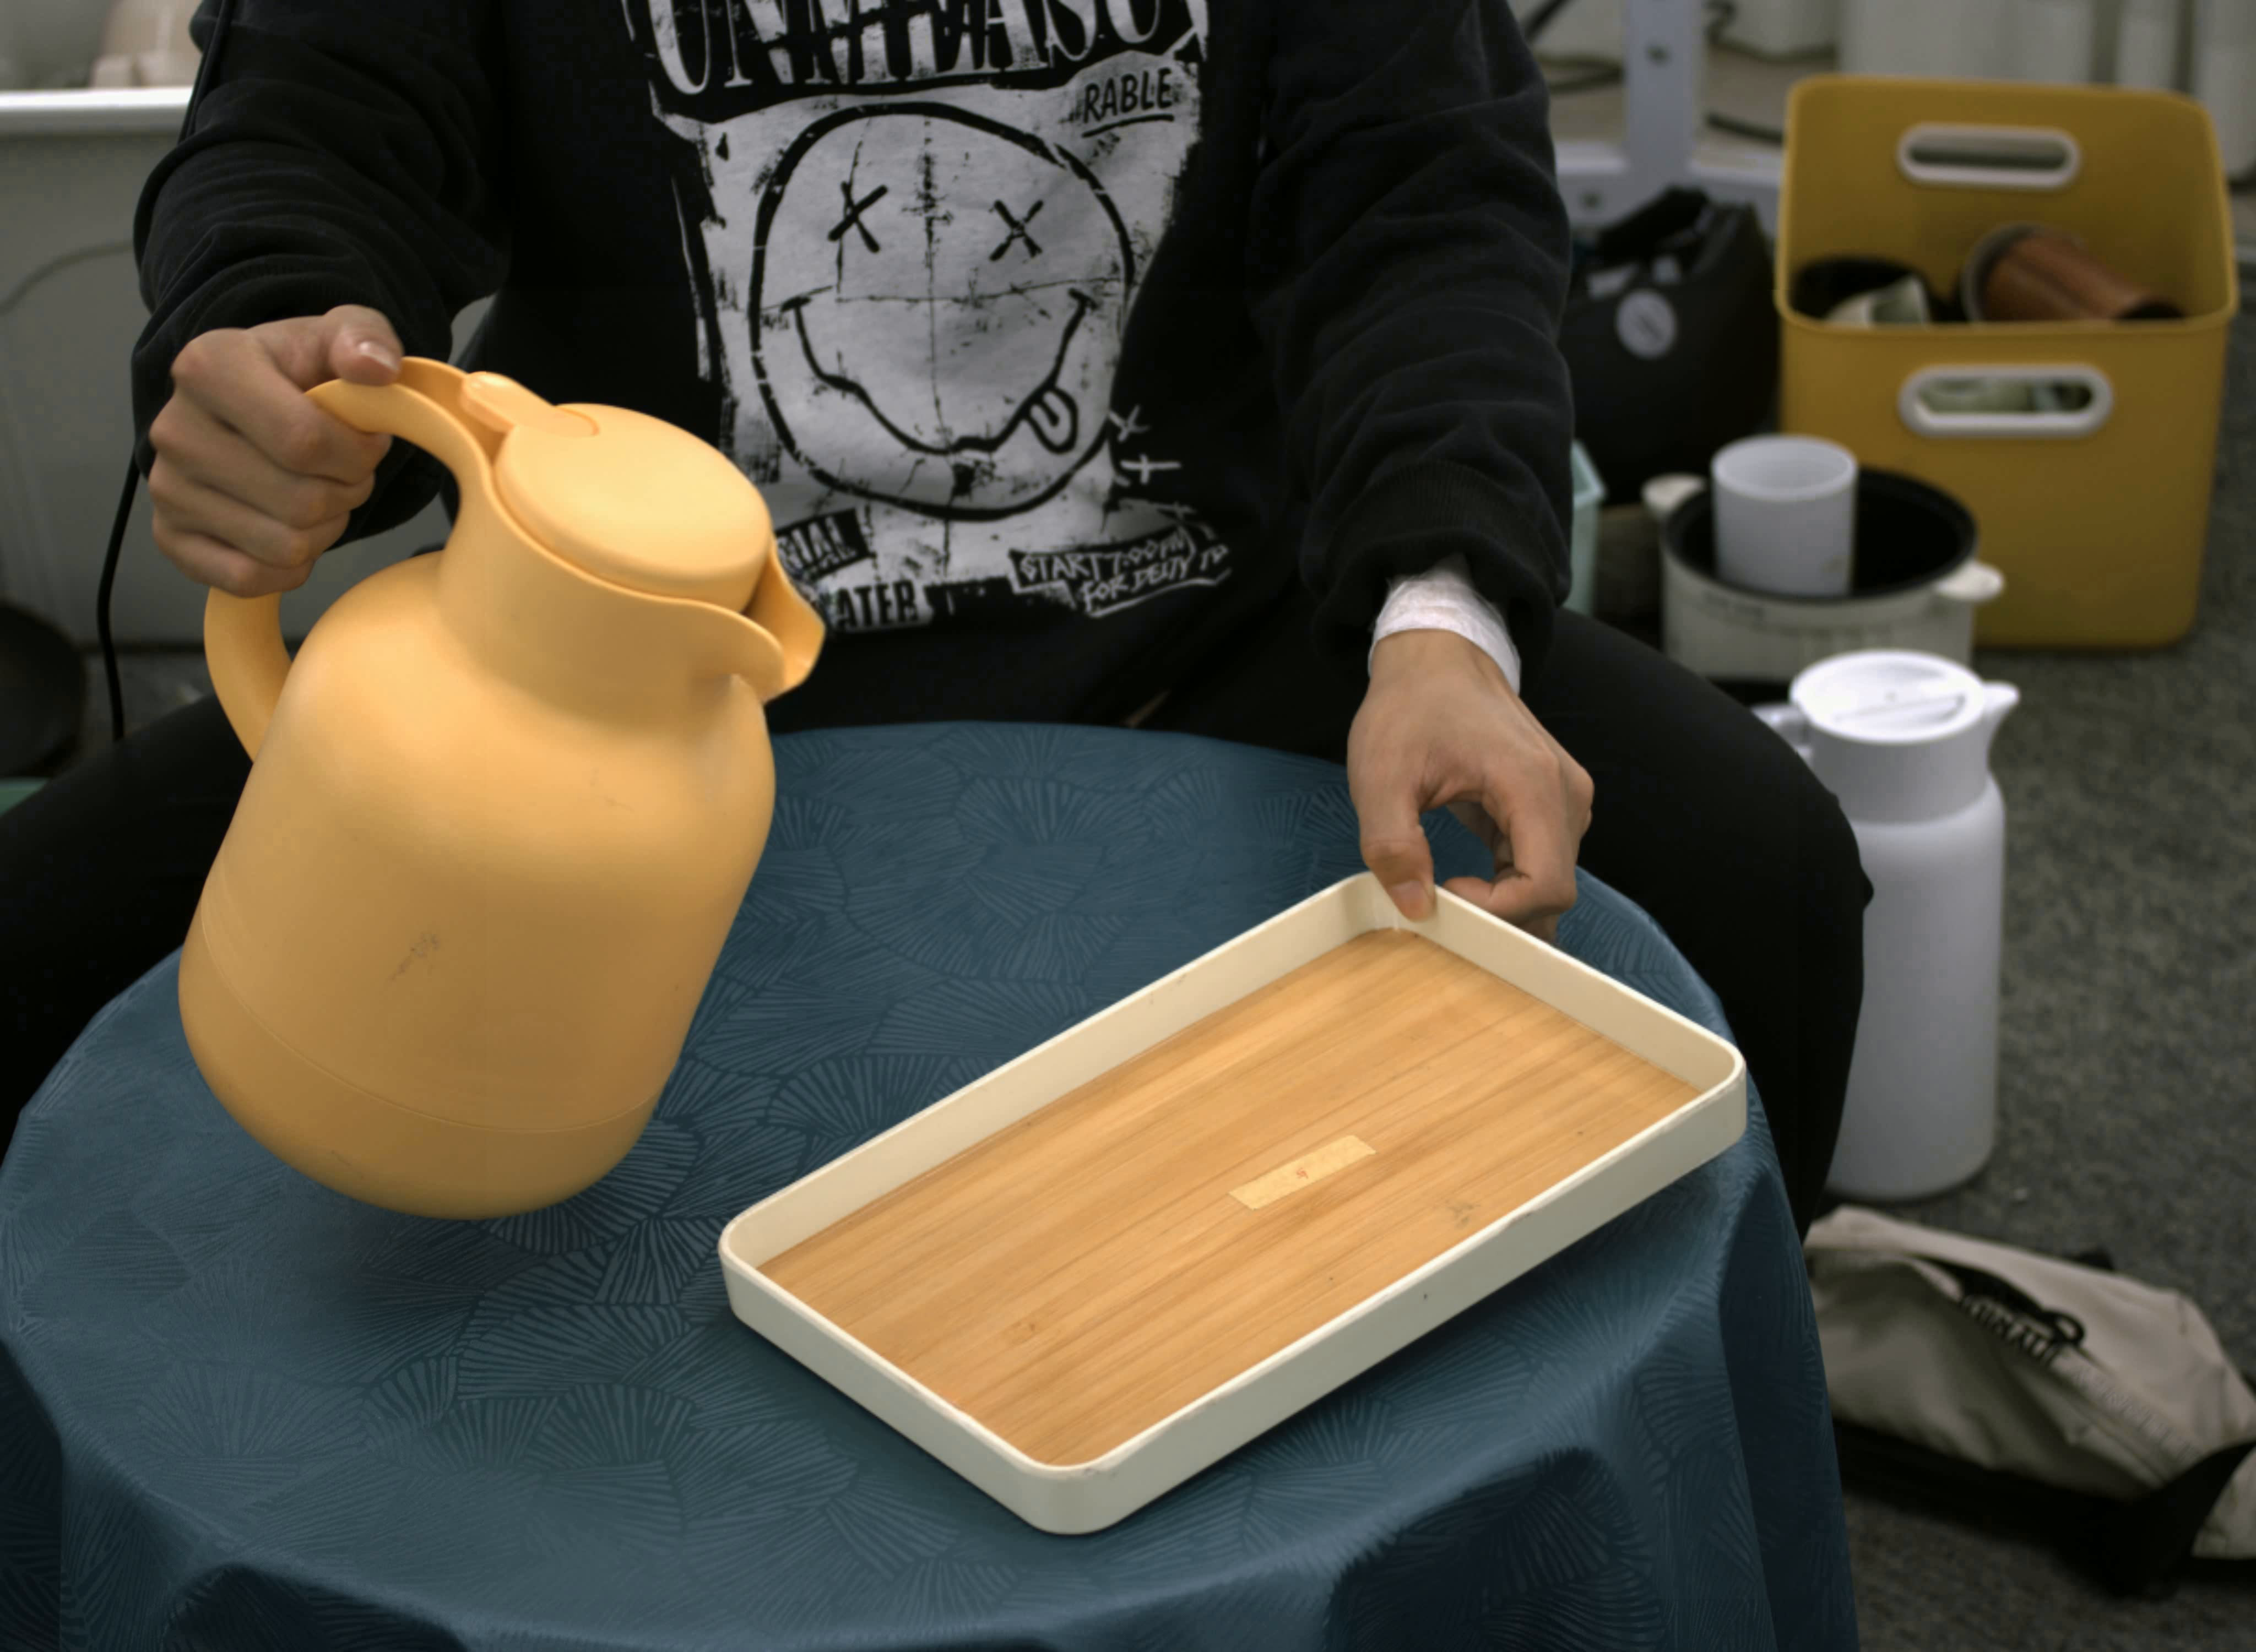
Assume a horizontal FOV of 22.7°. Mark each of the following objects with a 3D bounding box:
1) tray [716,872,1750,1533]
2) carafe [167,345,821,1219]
[{"bbox_3d":[0.036,0.115,1.812,0.303,0.027,0.192,-27,37,-31],"label":"tray"},{"bbox_3d":[-0.211,-0.022,1.794,0.202,0.257,0.165,36,29,16],"label":"carafe"}]
